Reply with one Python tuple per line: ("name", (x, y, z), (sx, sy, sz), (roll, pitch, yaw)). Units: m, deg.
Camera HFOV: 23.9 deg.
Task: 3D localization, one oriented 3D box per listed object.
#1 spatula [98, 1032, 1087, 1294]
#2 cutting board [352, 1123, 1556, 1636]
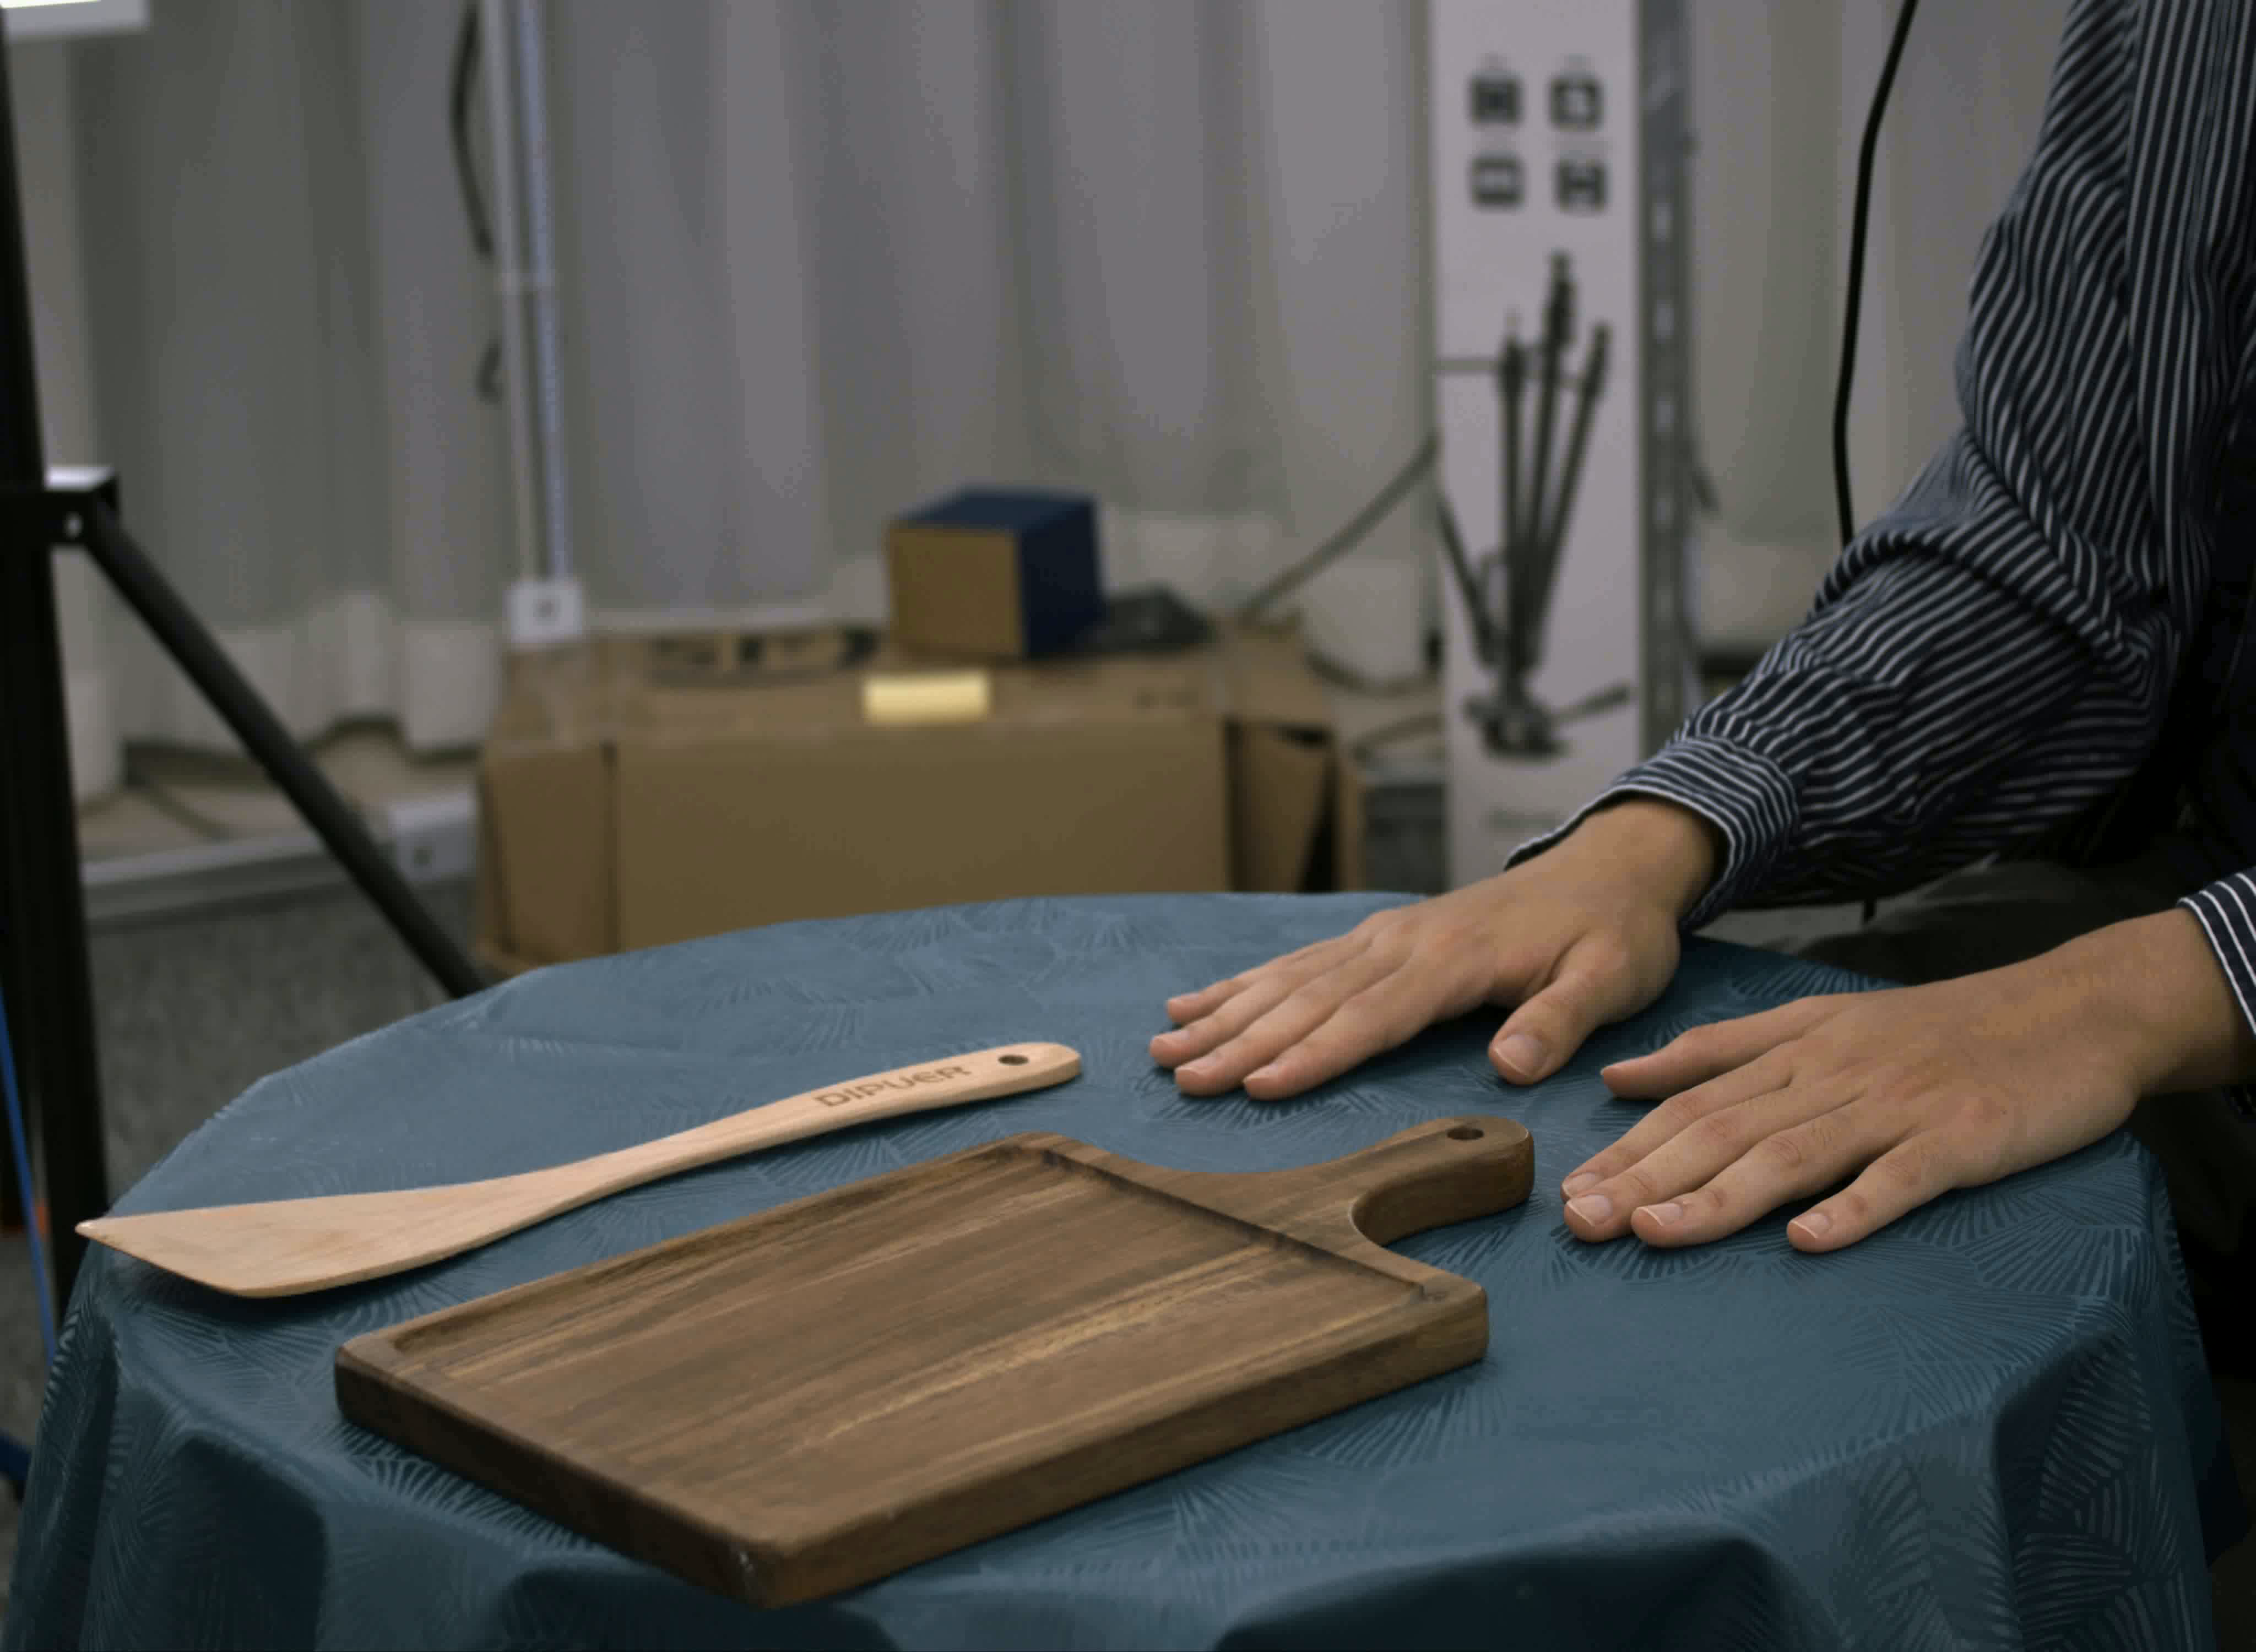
("spatula", (-0.145, 0.097, 1.592), (0.320, 0.016, 0.082), (-14, 20, -33))
("cutting board", (-0.013, 0.133, 1.440), (0.344, 0.023, 0.206), (-15, 20, -36))
